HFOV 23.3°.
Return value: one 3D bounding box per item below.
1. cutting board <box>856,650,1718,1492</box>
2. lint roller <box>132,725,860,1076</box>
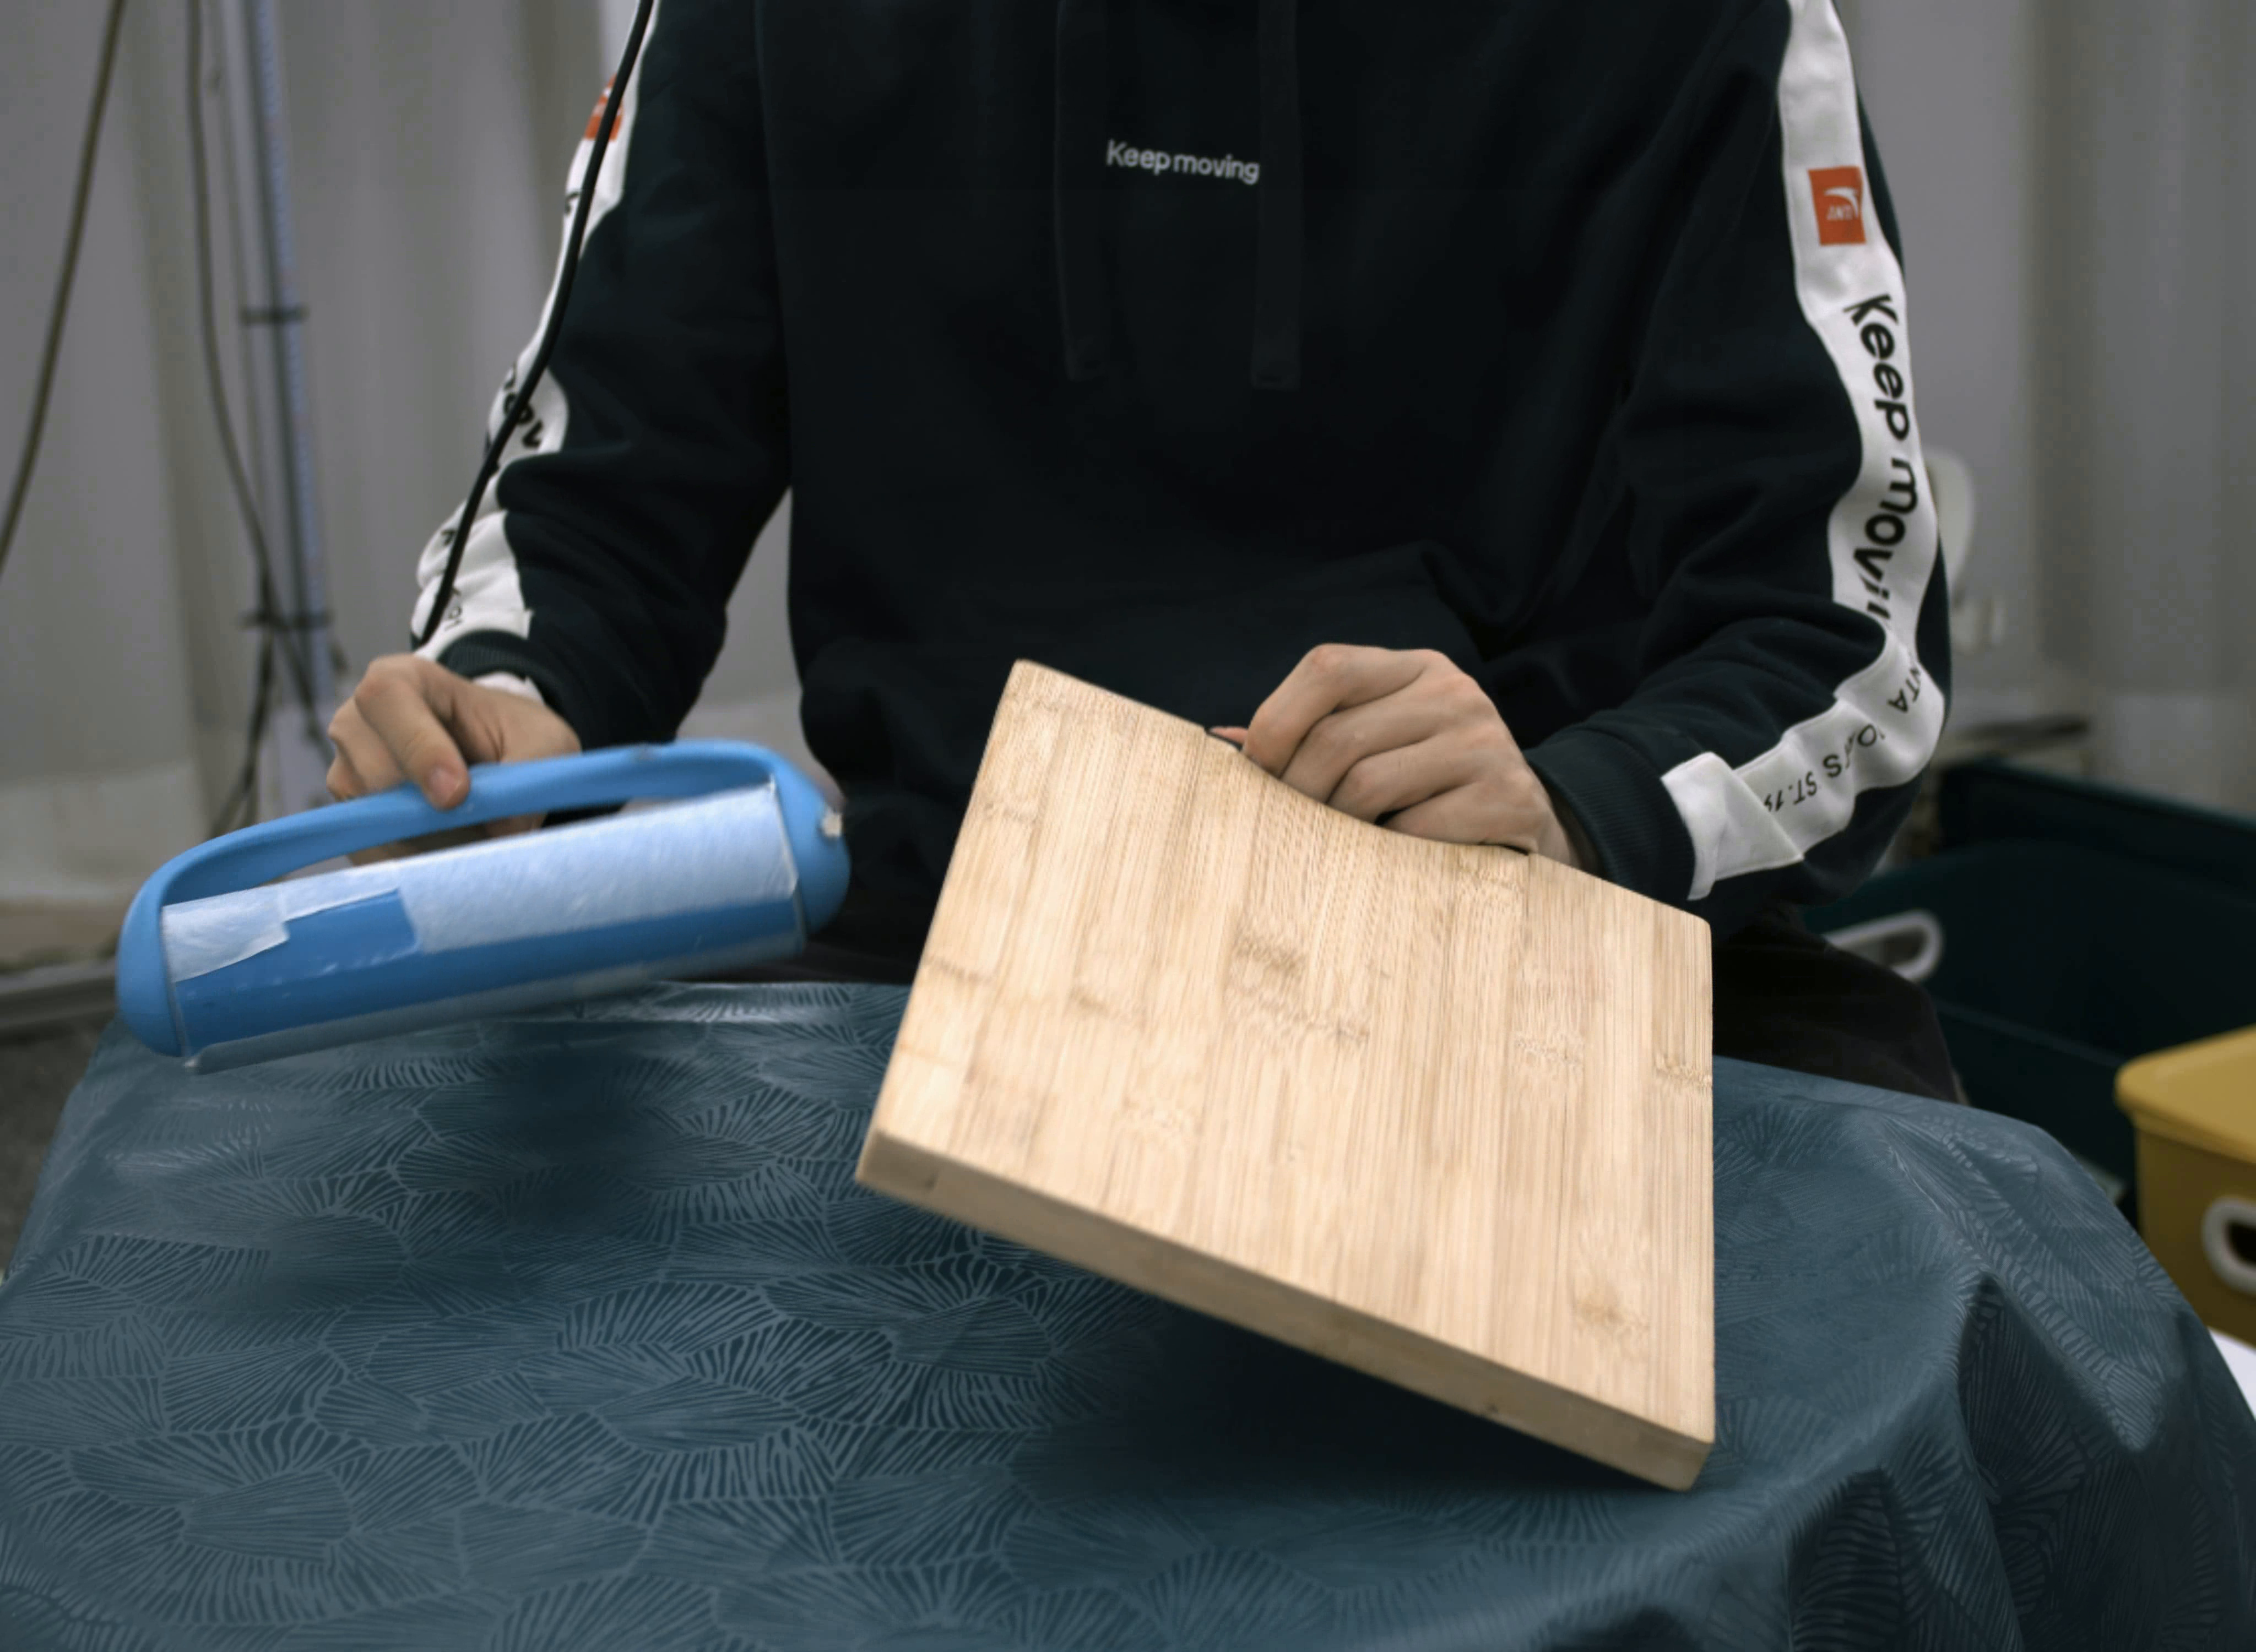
[{"bbox_3d":[0.058,0.060,1.603,0.250,0.023,0.352,21,23,-4],"label":"cutting board"},{"bbox_3d":[-0.208,0.011,1.750,0.228,0.067,0.182,-16,19,-8],"label":"lint roller"}]
